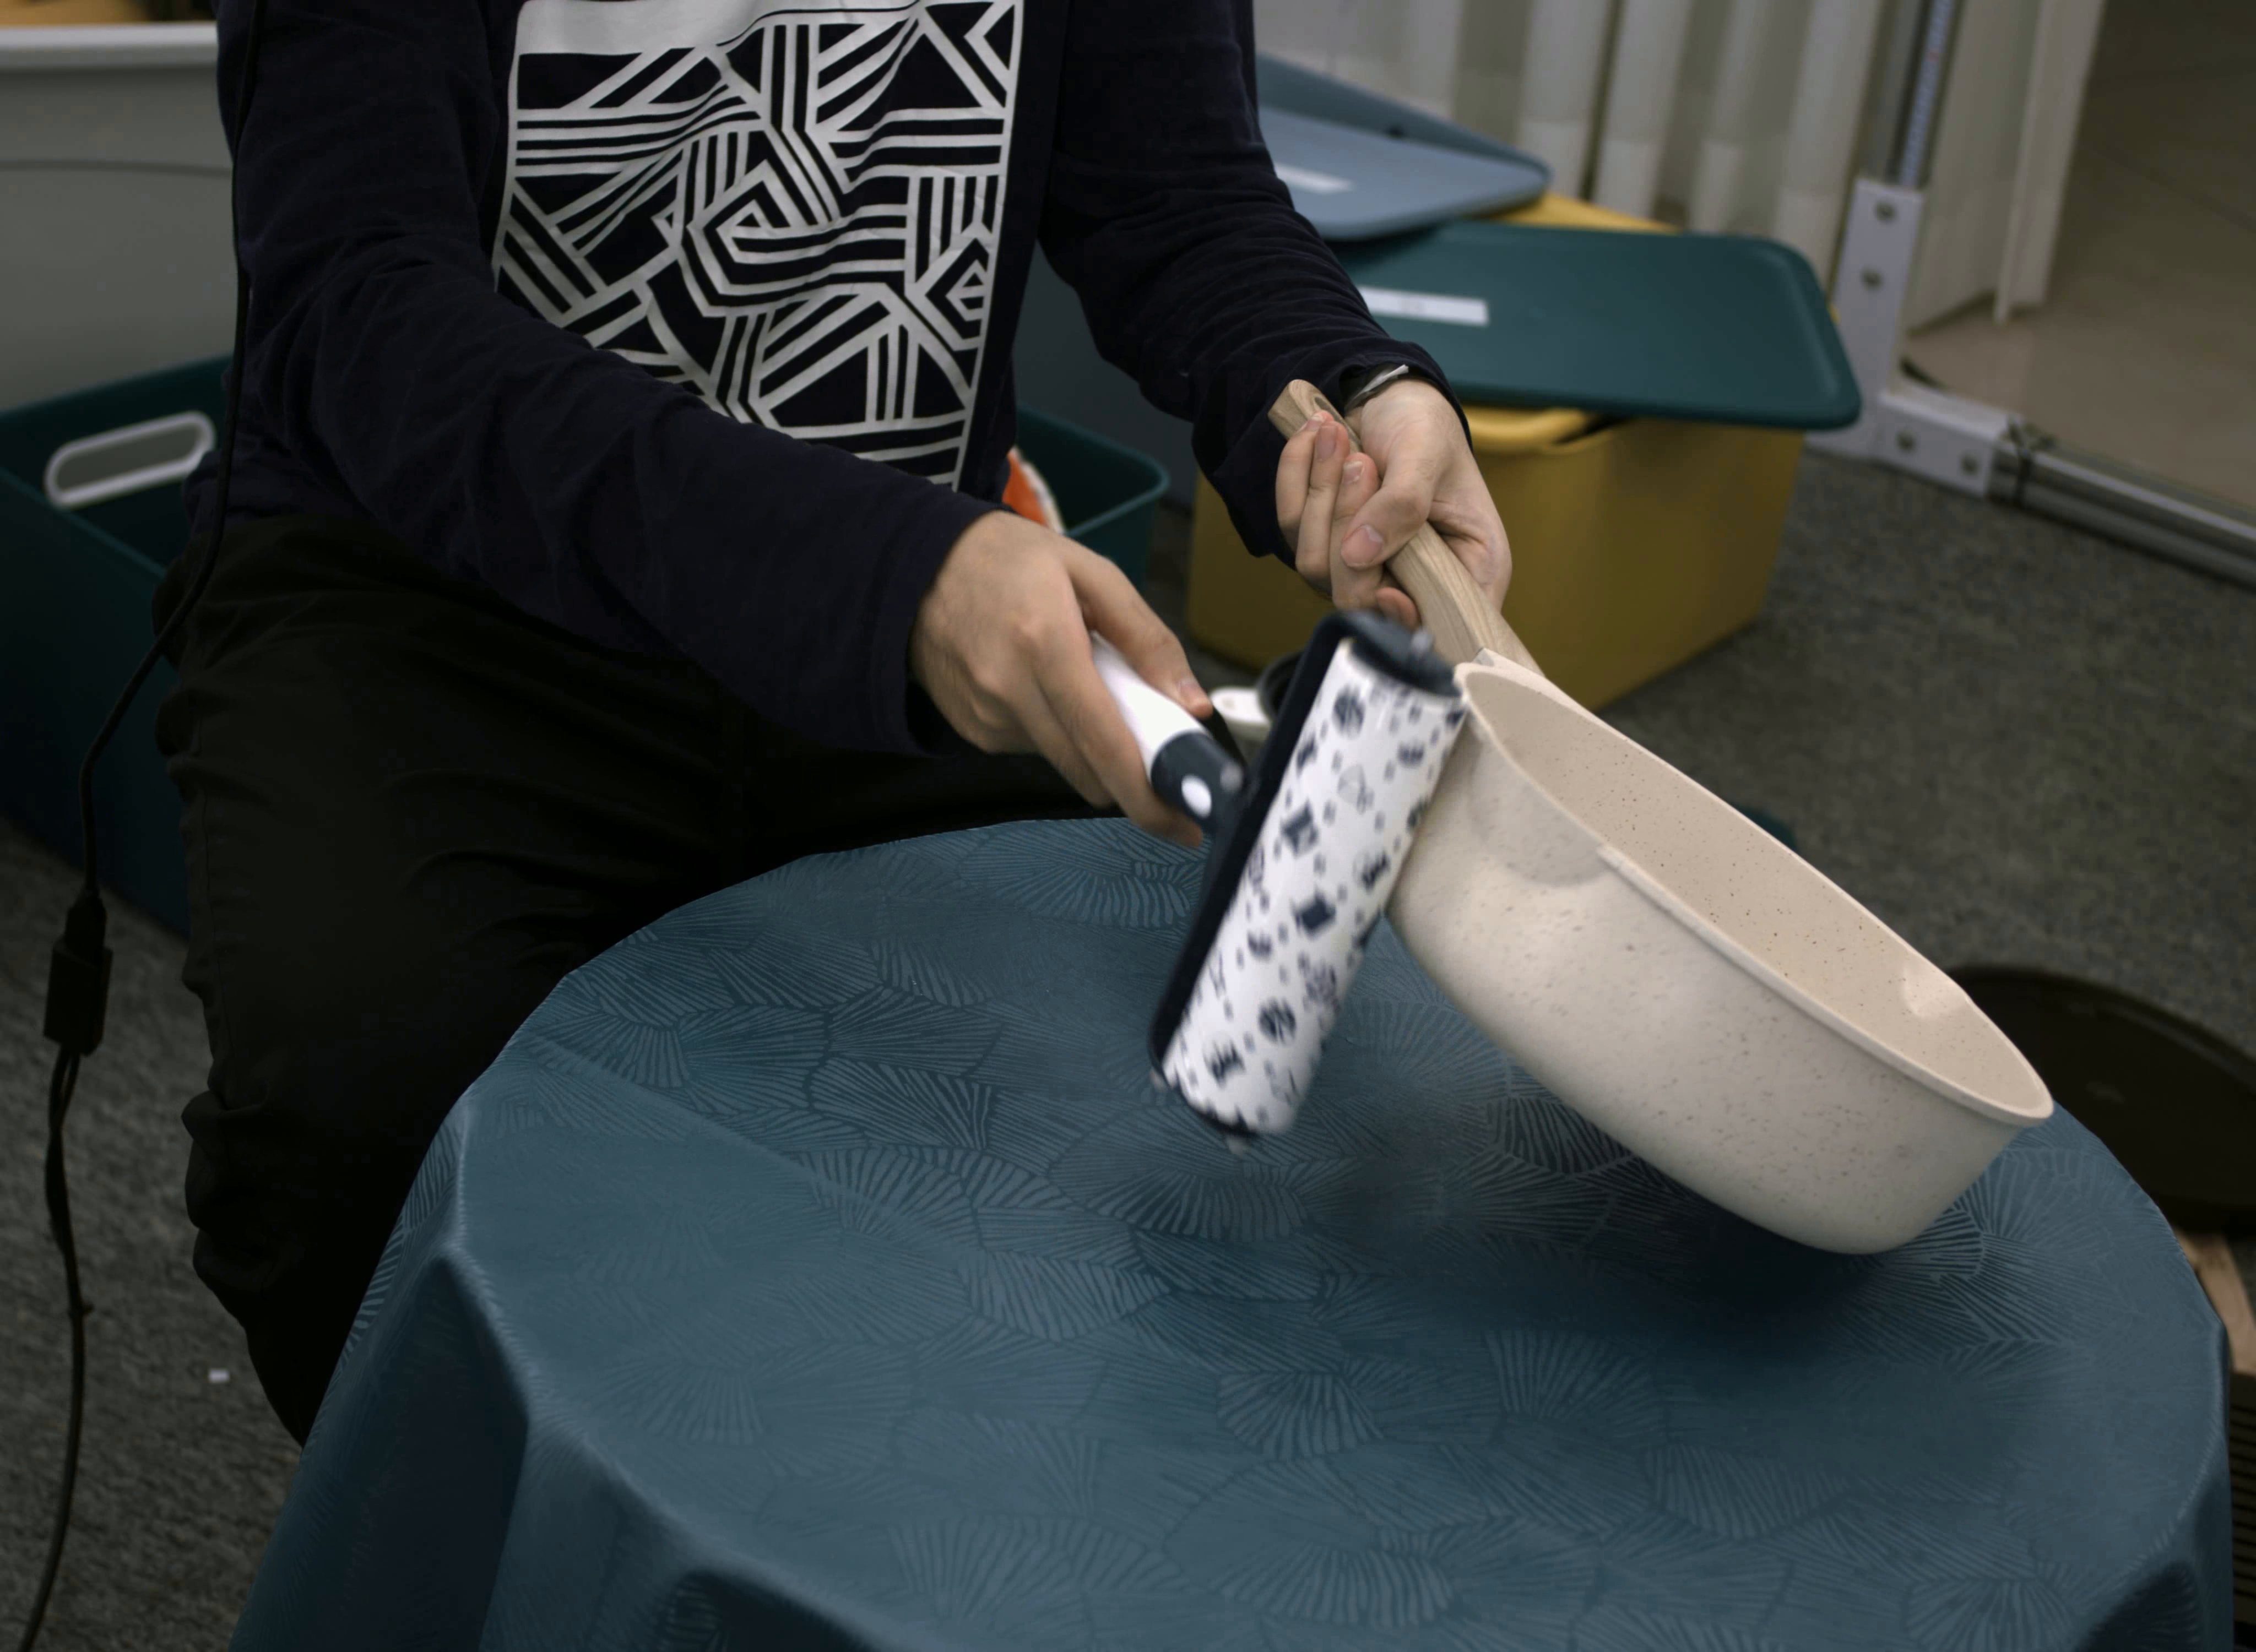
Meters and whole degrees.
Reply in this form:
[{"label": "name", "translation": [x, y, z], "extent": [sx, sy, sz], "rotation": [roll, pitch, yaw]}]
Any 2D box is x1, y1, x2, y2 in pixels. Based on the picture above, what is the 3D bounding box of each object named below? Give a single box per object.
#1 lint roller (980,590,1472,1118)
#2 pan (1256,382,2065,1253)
[{"label": "lint roller", "translation": [0.008, -0.026, 1.836], "extent": [0.050, 0.176, 0.249], "rotation": [18, 12, -38]}, {"label": "pan", "translation": [0.148, -0.005, 1.869], "extent": [0.261, 0.102, 0.439], "rotation": [20, 20, -45]}]
